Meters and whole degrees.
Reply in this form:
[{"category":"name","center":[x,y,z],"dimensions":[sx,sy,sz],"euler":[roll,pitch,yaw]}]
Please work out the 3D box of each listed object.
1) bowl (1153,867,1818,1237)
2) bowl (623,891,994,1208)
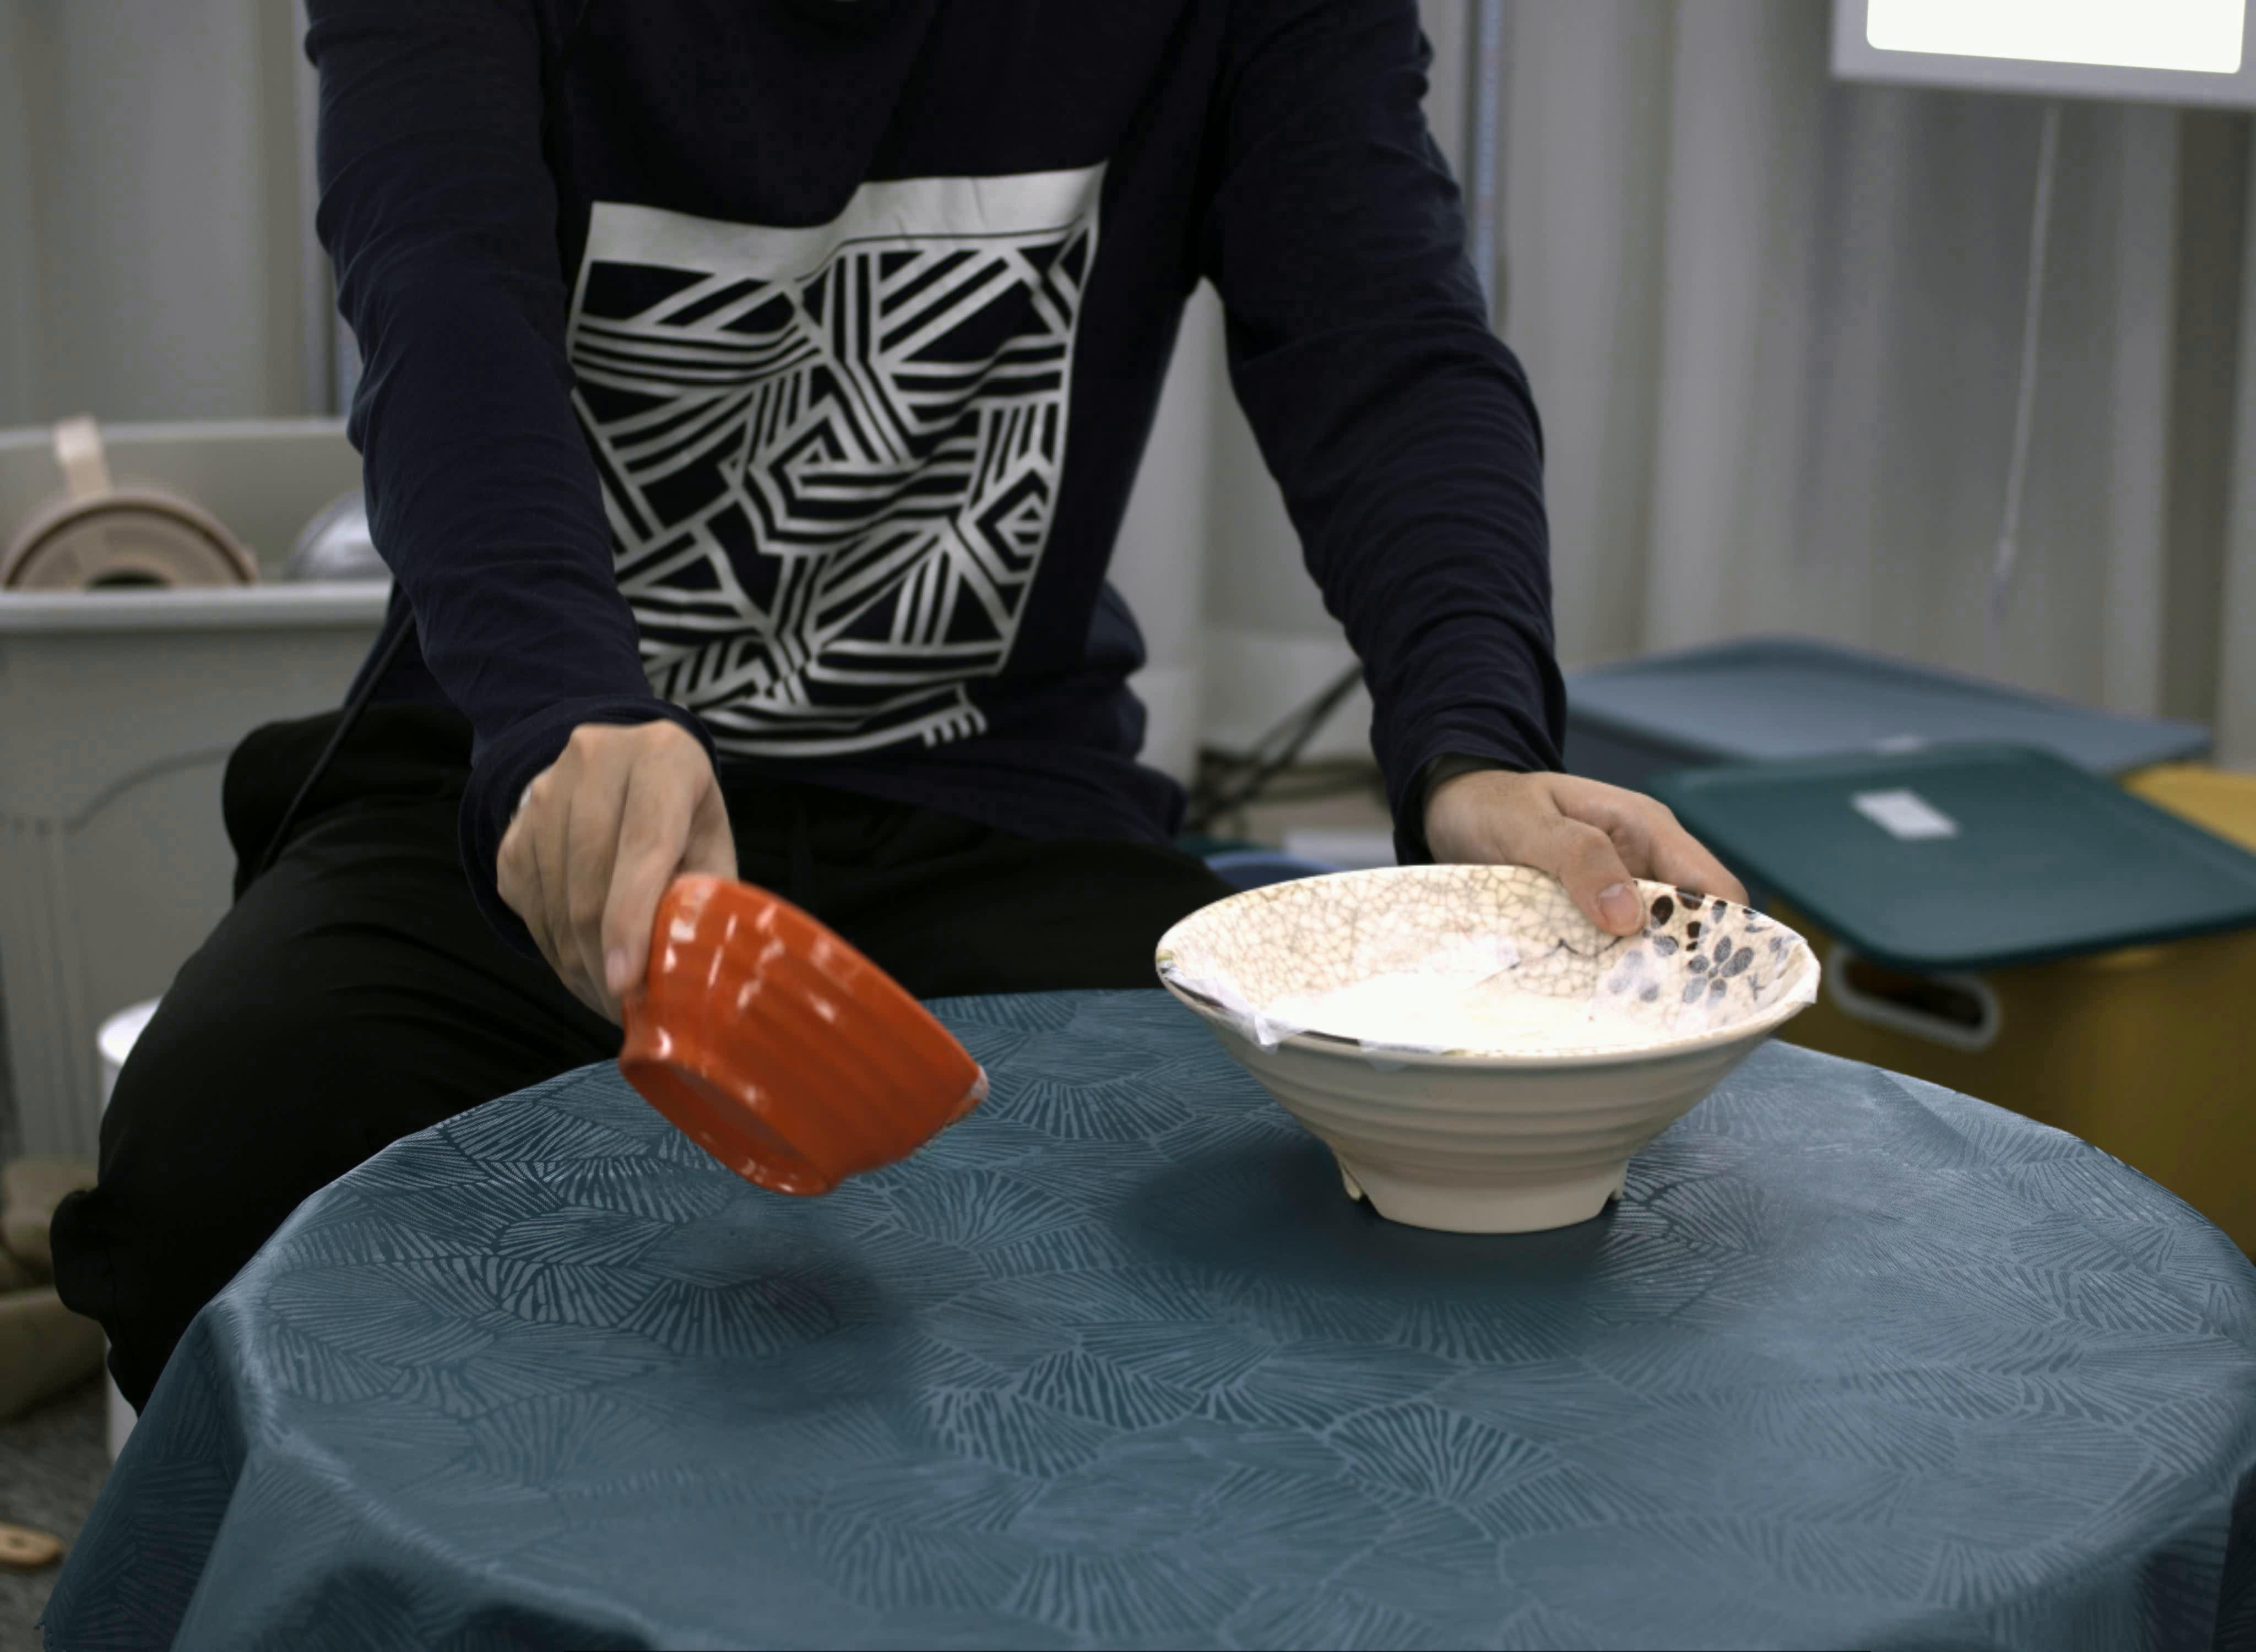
[{"category":"bowl","center":[0.108,0.076,1.618],"dimensions":[0.203,0.078,0.203],"euler":[1,15,0]},{"category":"bowl","center":[-0.101,0.070,1.511],"dimensions":[0.118,0.051,0.120],"euler":[28,-16,10]}]
